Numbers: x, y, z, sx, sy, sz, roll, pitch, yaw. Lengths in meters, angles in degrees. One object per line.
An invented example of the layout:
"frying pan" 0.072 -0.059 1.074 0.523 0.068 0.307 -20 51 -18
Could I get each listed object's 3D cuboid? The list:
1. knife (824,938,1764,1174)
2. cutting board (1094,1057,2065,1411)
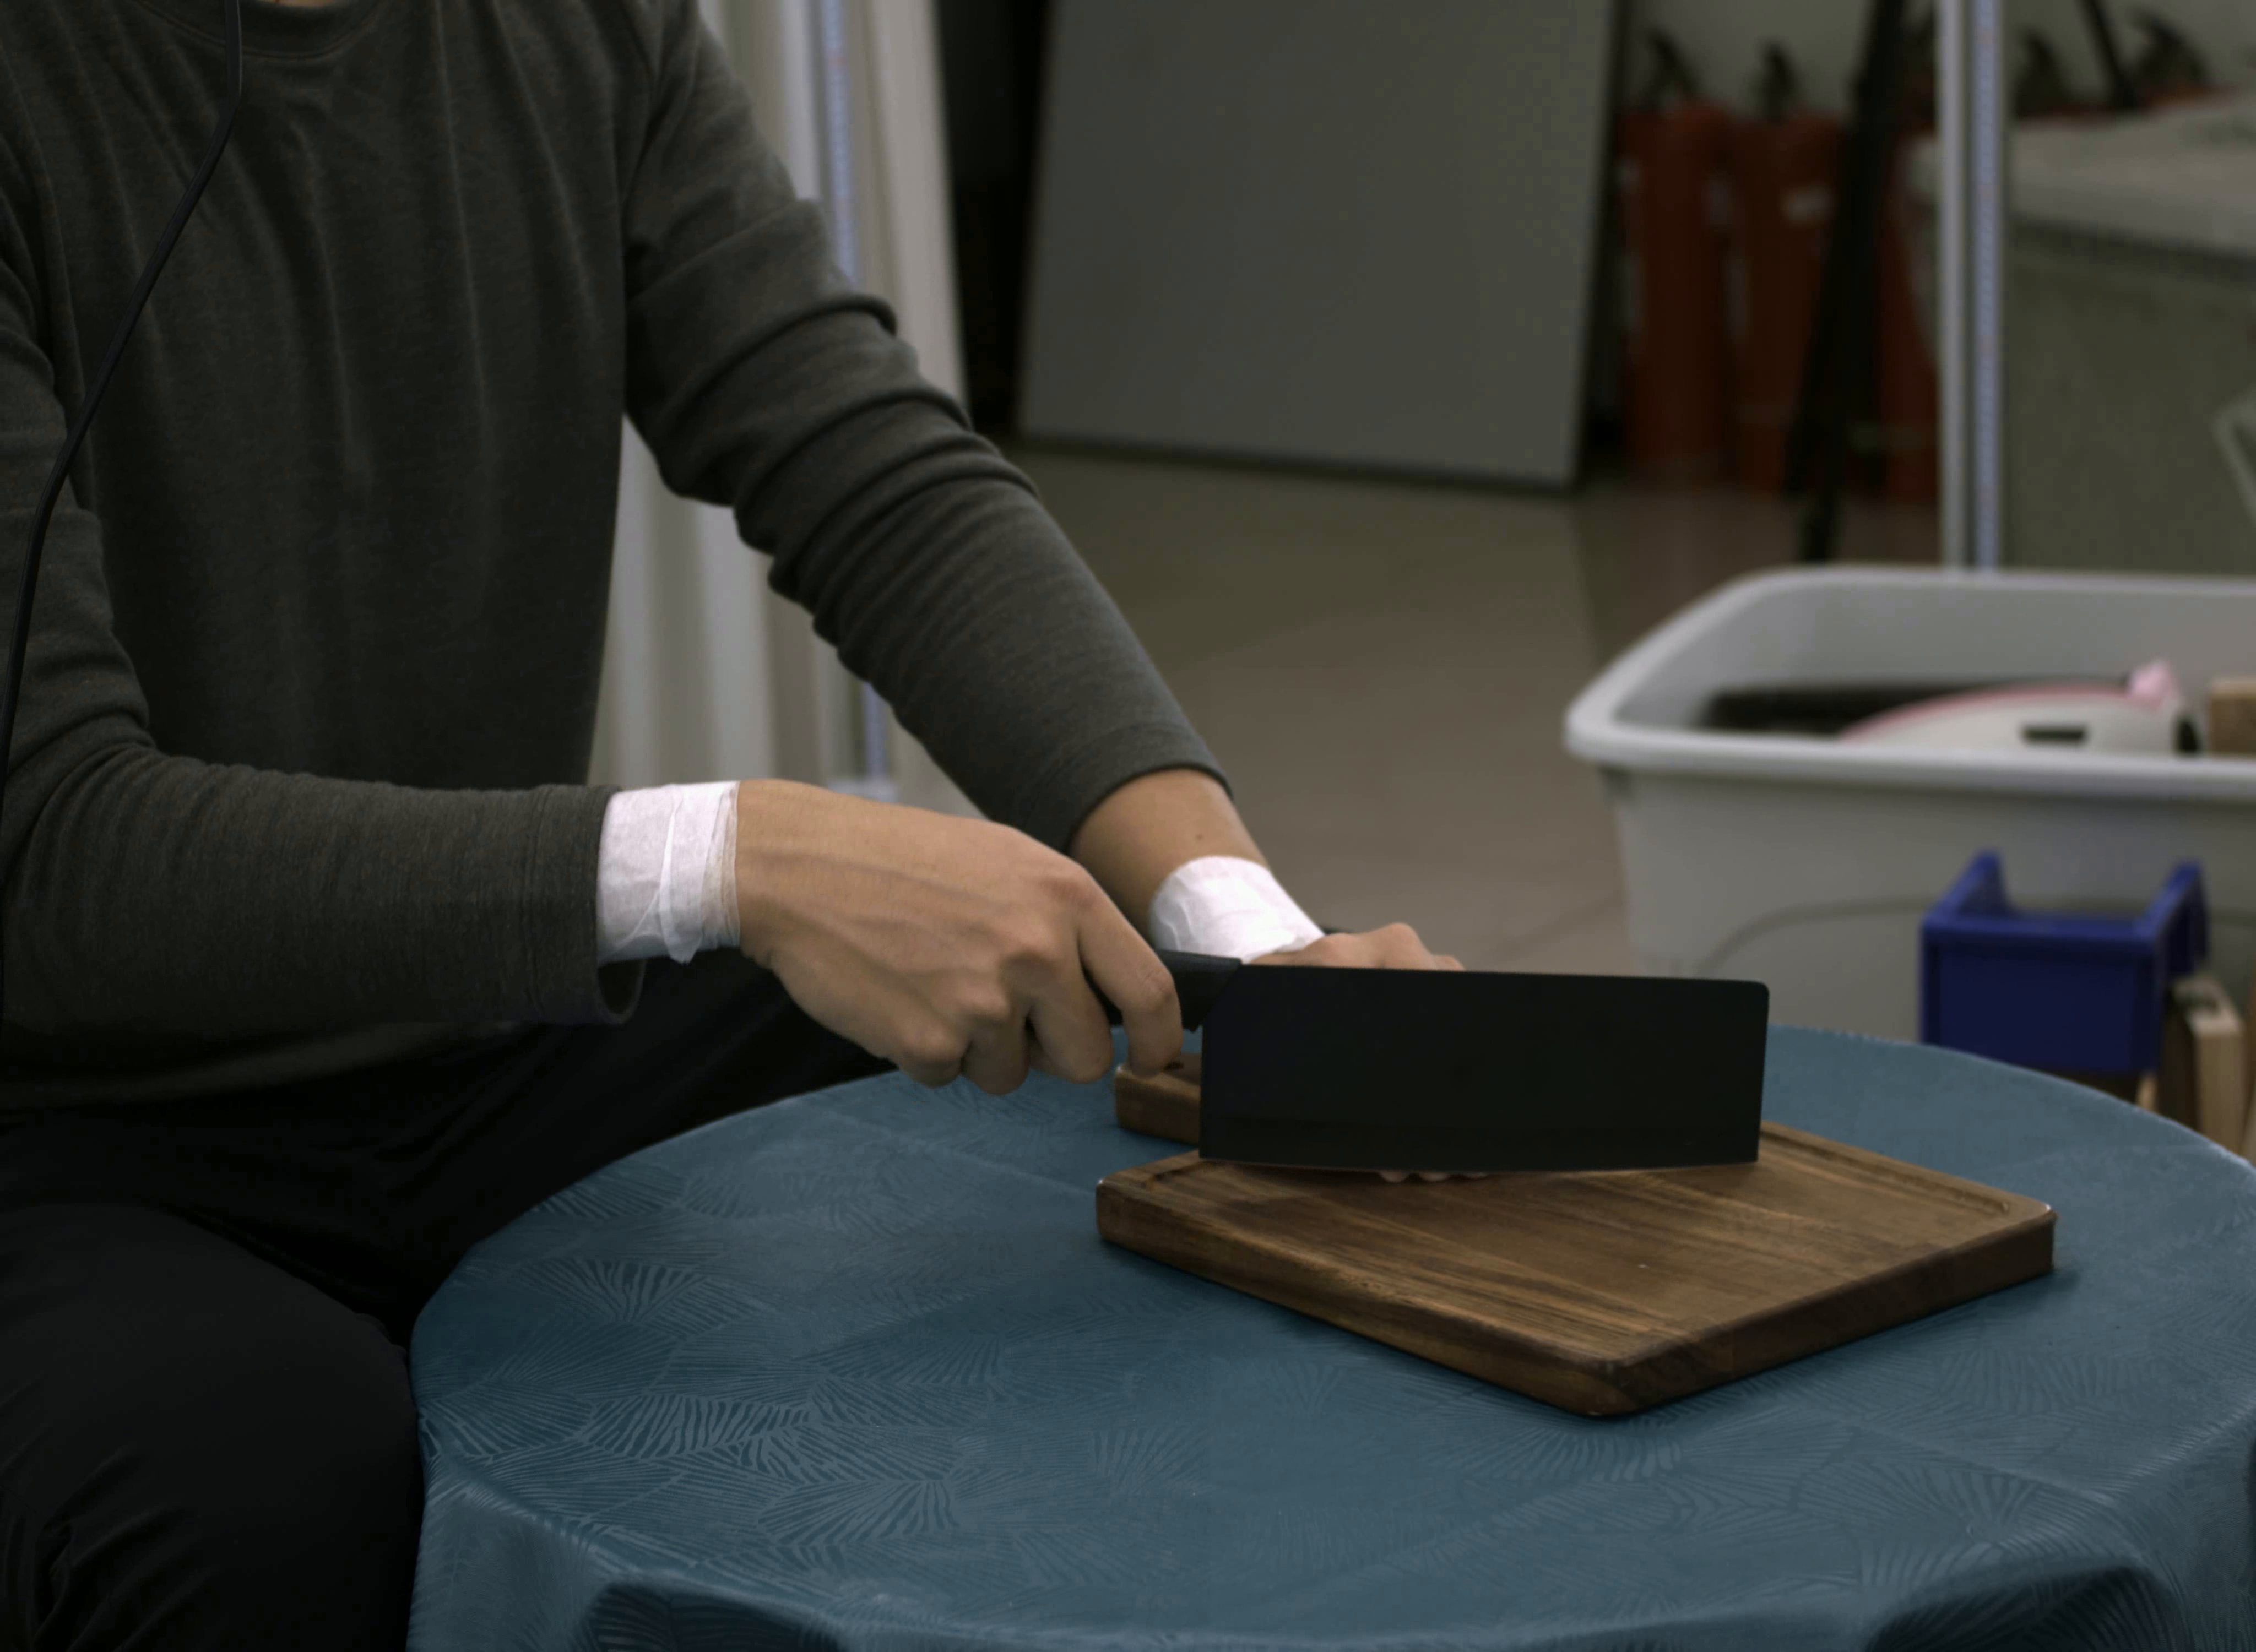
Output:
"knife" 0.053 0.071 1.703 0.298 0.082 0.021 6 9 0
"cutting board" 0.108 0.116 1.720 0.196 0.023 0.356 -13 16 -35
